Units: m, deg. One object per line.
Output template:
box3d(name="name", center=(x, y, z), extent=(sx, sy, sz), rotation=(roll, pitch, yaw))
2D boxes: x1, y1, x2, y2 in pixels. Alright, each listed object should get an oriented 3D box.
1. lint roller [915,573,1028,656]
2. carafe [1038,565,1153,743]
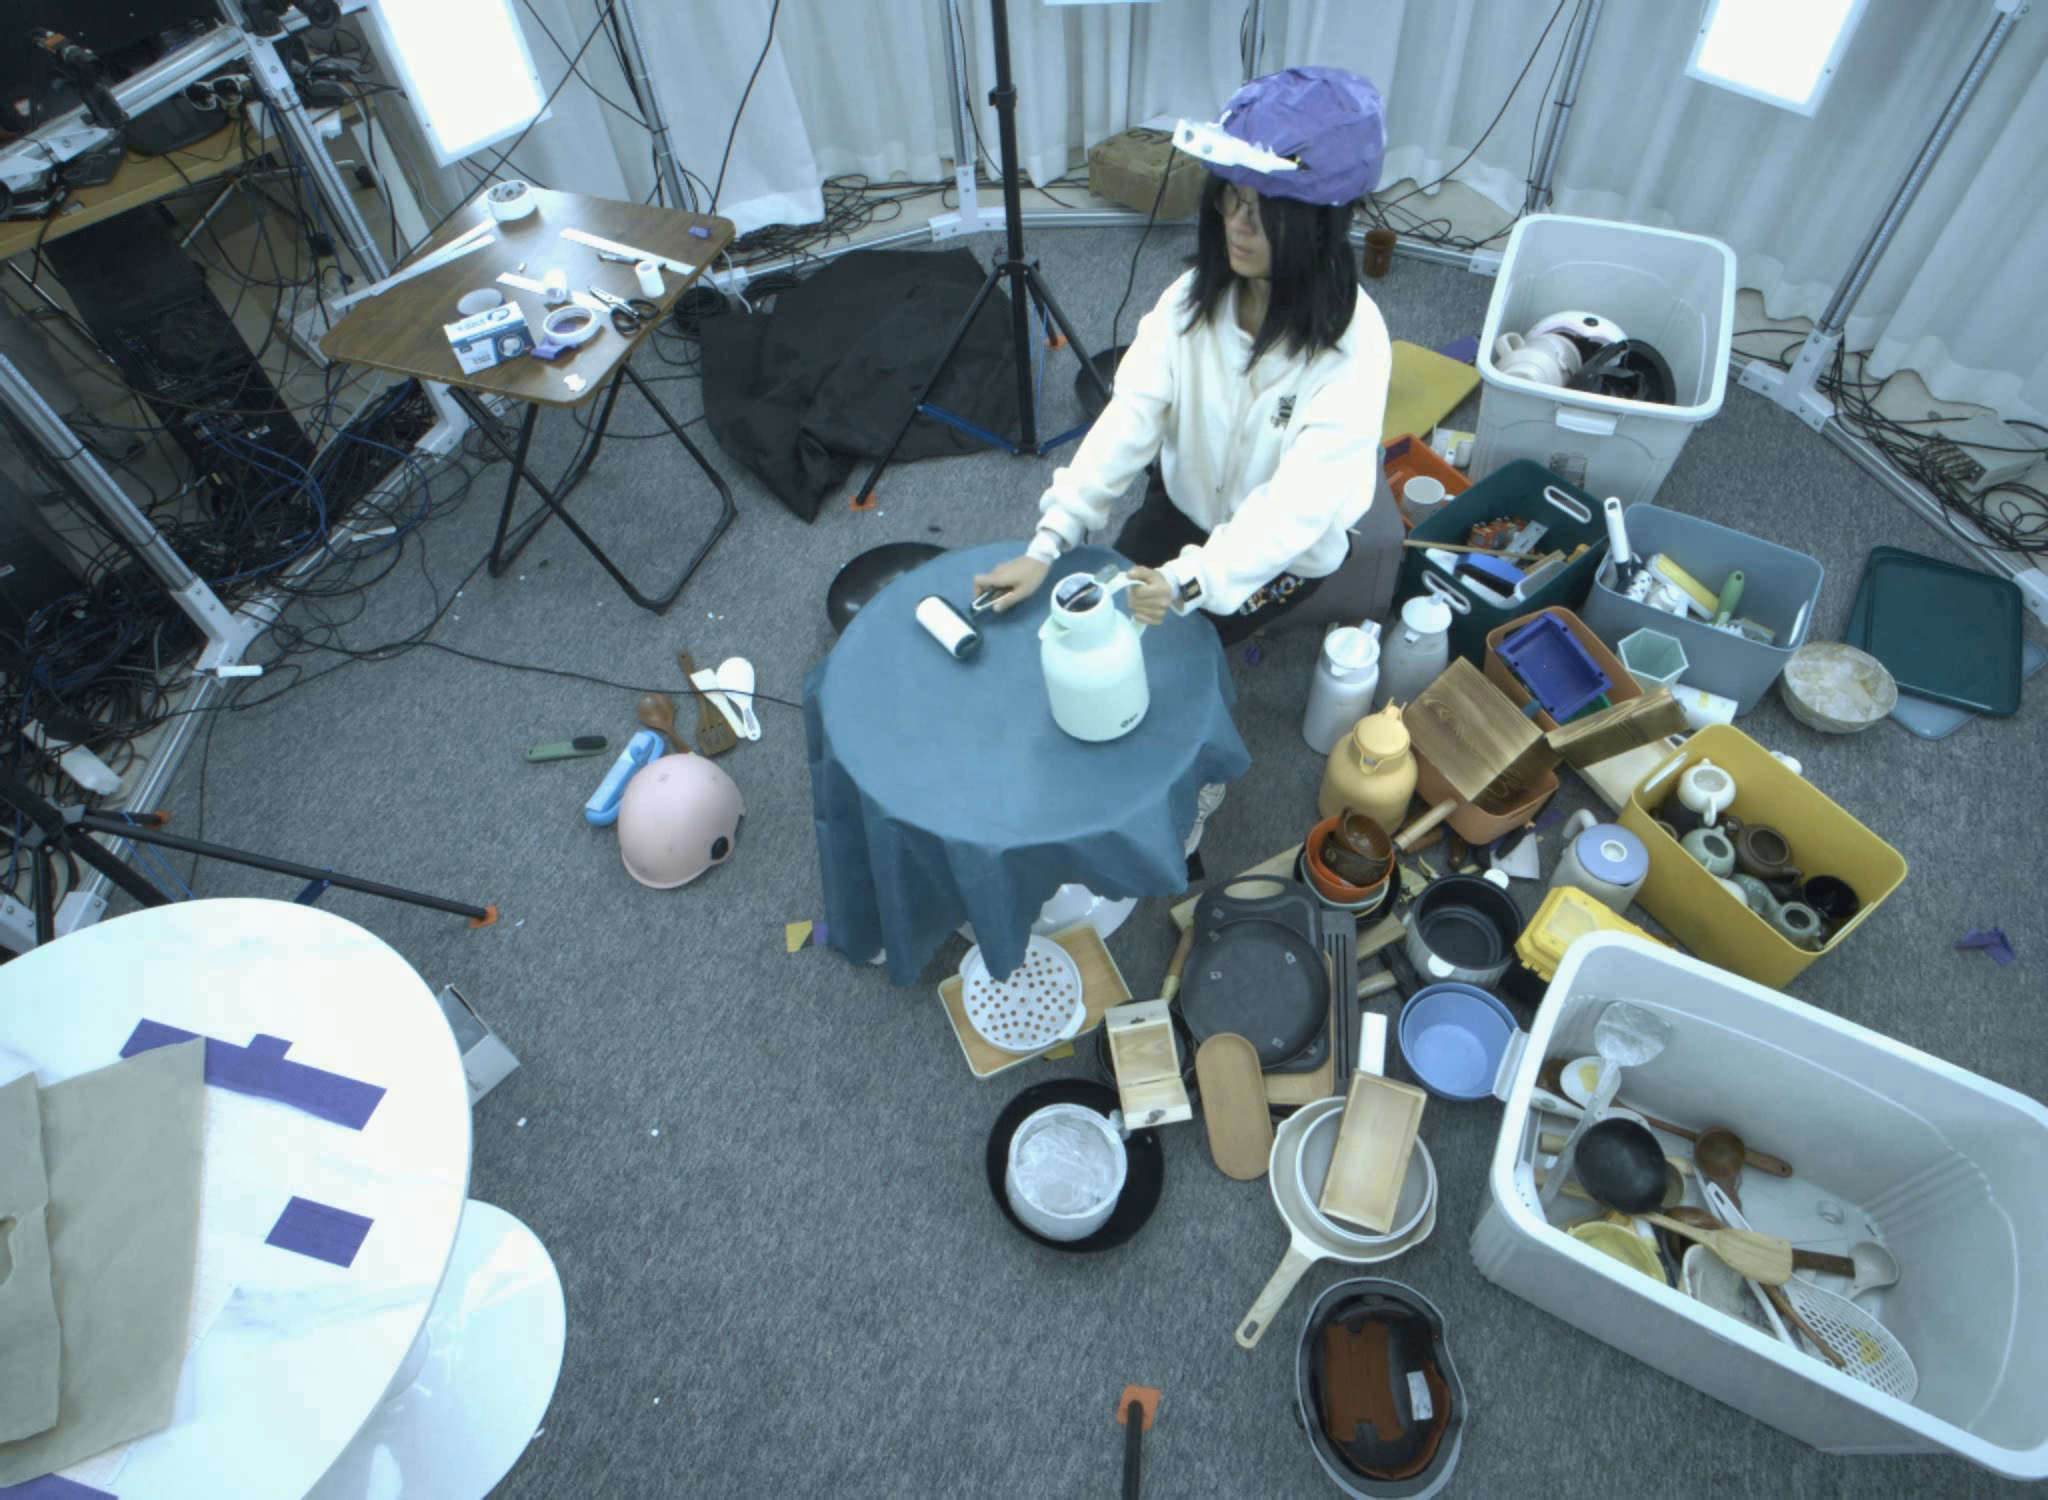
box3d(name="lint roller", center=(-0.069, -0.232, 1.912), extent=(0.181, 0.049, 0.132), rotation=(-38, 63, -12))
box3d(name="carafe", center=(0.105, -0.142, 1.723), extent=(0.188, 0.260, 0.141), rotation=(-37, 57, -18))
